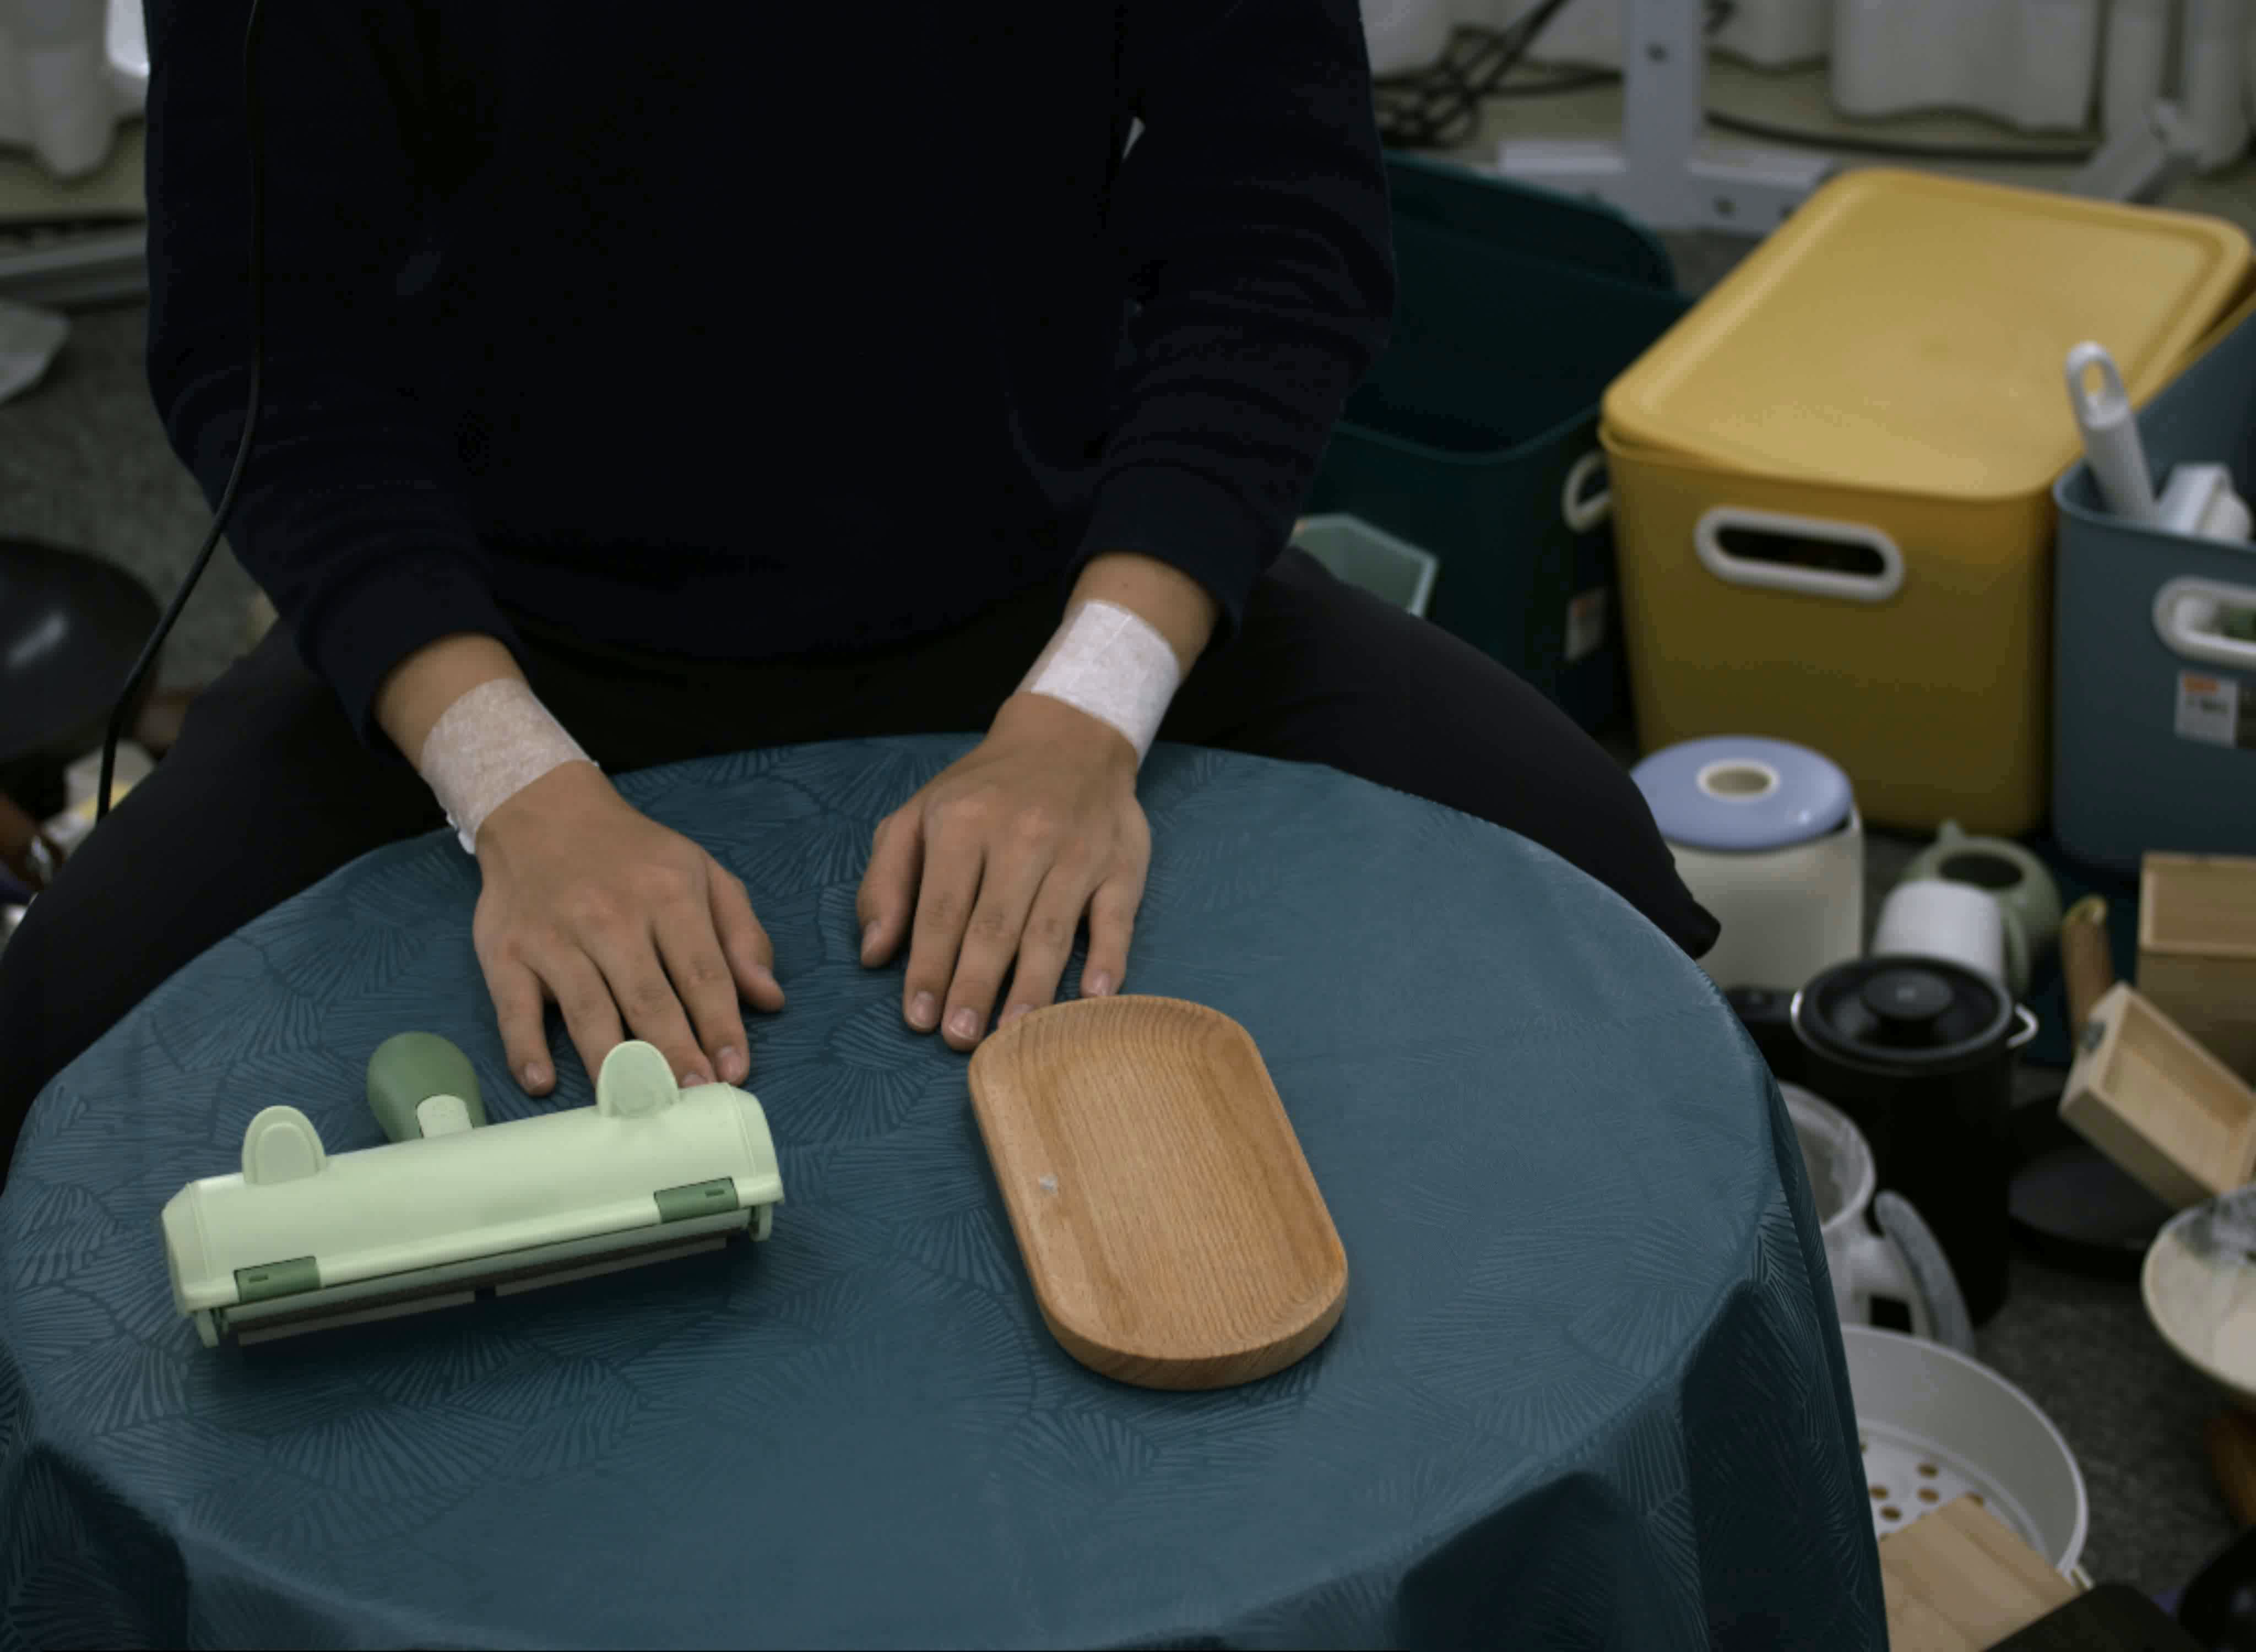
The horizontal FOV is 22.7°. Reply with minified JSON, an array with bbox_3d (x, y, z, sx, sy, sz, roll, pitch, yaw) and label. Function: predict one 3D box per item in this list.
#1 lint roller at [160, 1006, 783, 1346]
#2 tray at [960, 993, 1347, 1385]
[{"bbox_3d":[-0.228,0.090,1.853,0.199,0.081,0.185,-10,34,-14],"label":"lint roller"},{"bbox_3d":[0.007,0.117,1.853,0.101,0.020,0.234,-7,27,-9],"label":"tray"}]
